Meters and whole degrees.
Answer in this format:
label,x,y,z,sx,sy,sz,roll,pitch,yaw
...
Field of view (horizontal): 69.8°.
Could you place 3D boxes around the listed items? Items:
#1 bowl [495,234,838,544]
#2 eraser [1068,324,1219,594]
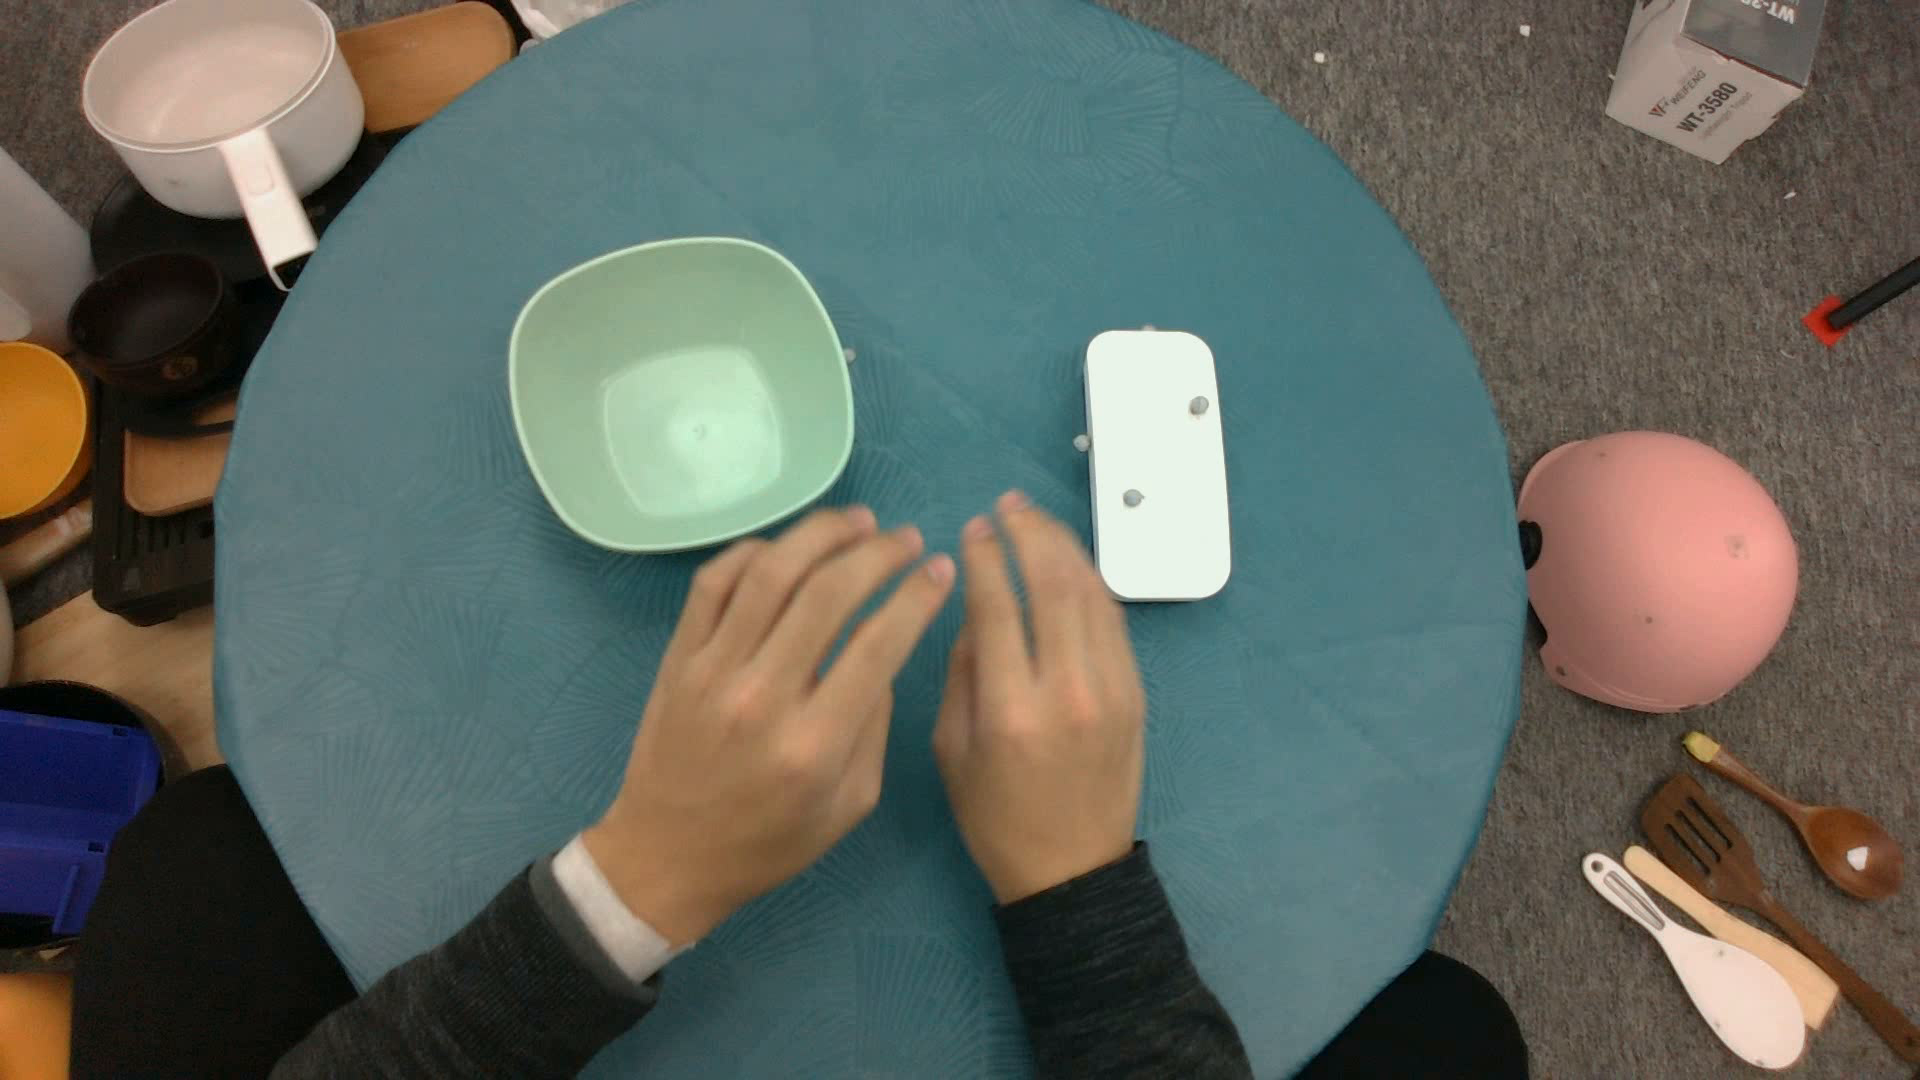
label,x,y,z,sx,sy,sz,roll,pitch,yaw
bowl,-0.127,-0.059,0.608,0.151,0.058,0.152,2,71,-7
eraser,0.083,-0.039,0.643,0.063,0.034,0.131,-1,72,-6
